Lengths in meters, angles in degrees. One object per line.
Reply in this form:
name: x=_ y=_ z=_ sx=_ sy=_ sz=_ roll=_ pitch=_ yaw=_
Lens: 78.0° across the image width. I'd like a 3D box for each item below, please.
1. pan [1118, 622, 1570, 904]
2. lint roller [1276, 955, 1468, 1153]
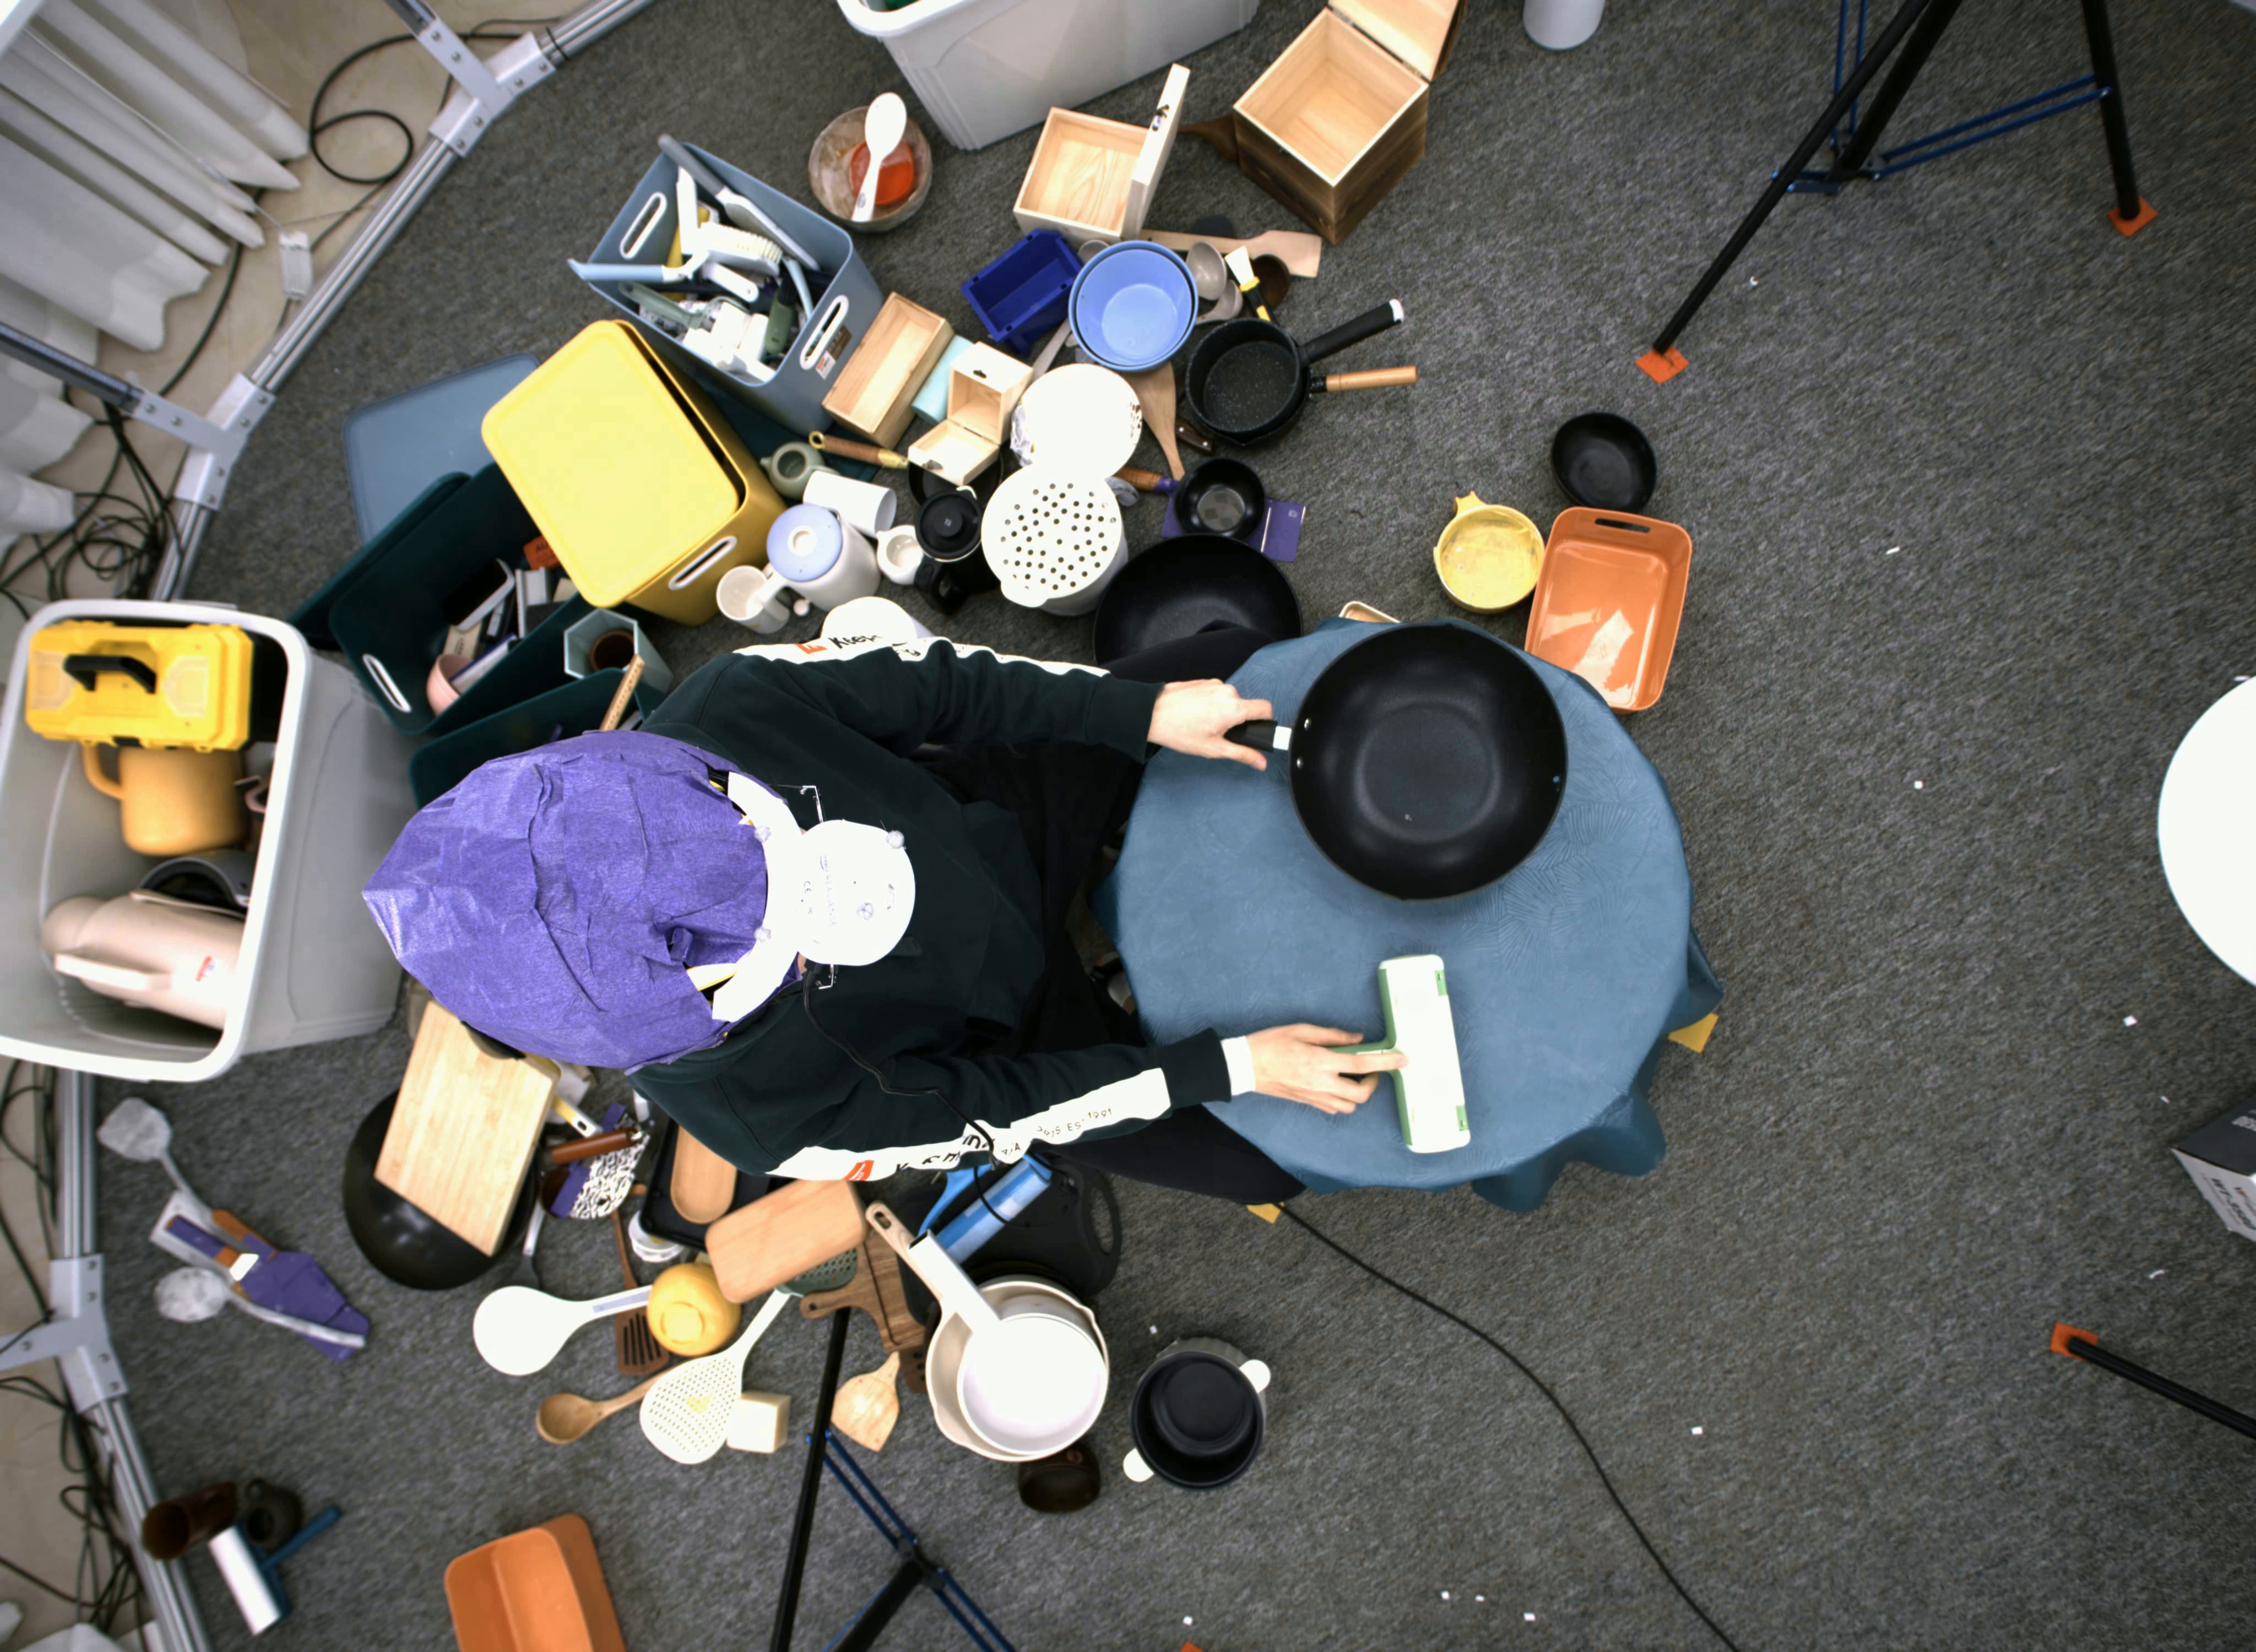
pan: x=0.218 y=-0.078 z=1.431 sx=0.464 sy=0.086 sz=0.288 roll=10 pitch=91 yaw=15
lint roller: x=0.239 y=0.237 z=1.403 sx=0.184 sy=0.082 sz=0.198 roll=-9 pitch=89 yaw=9
